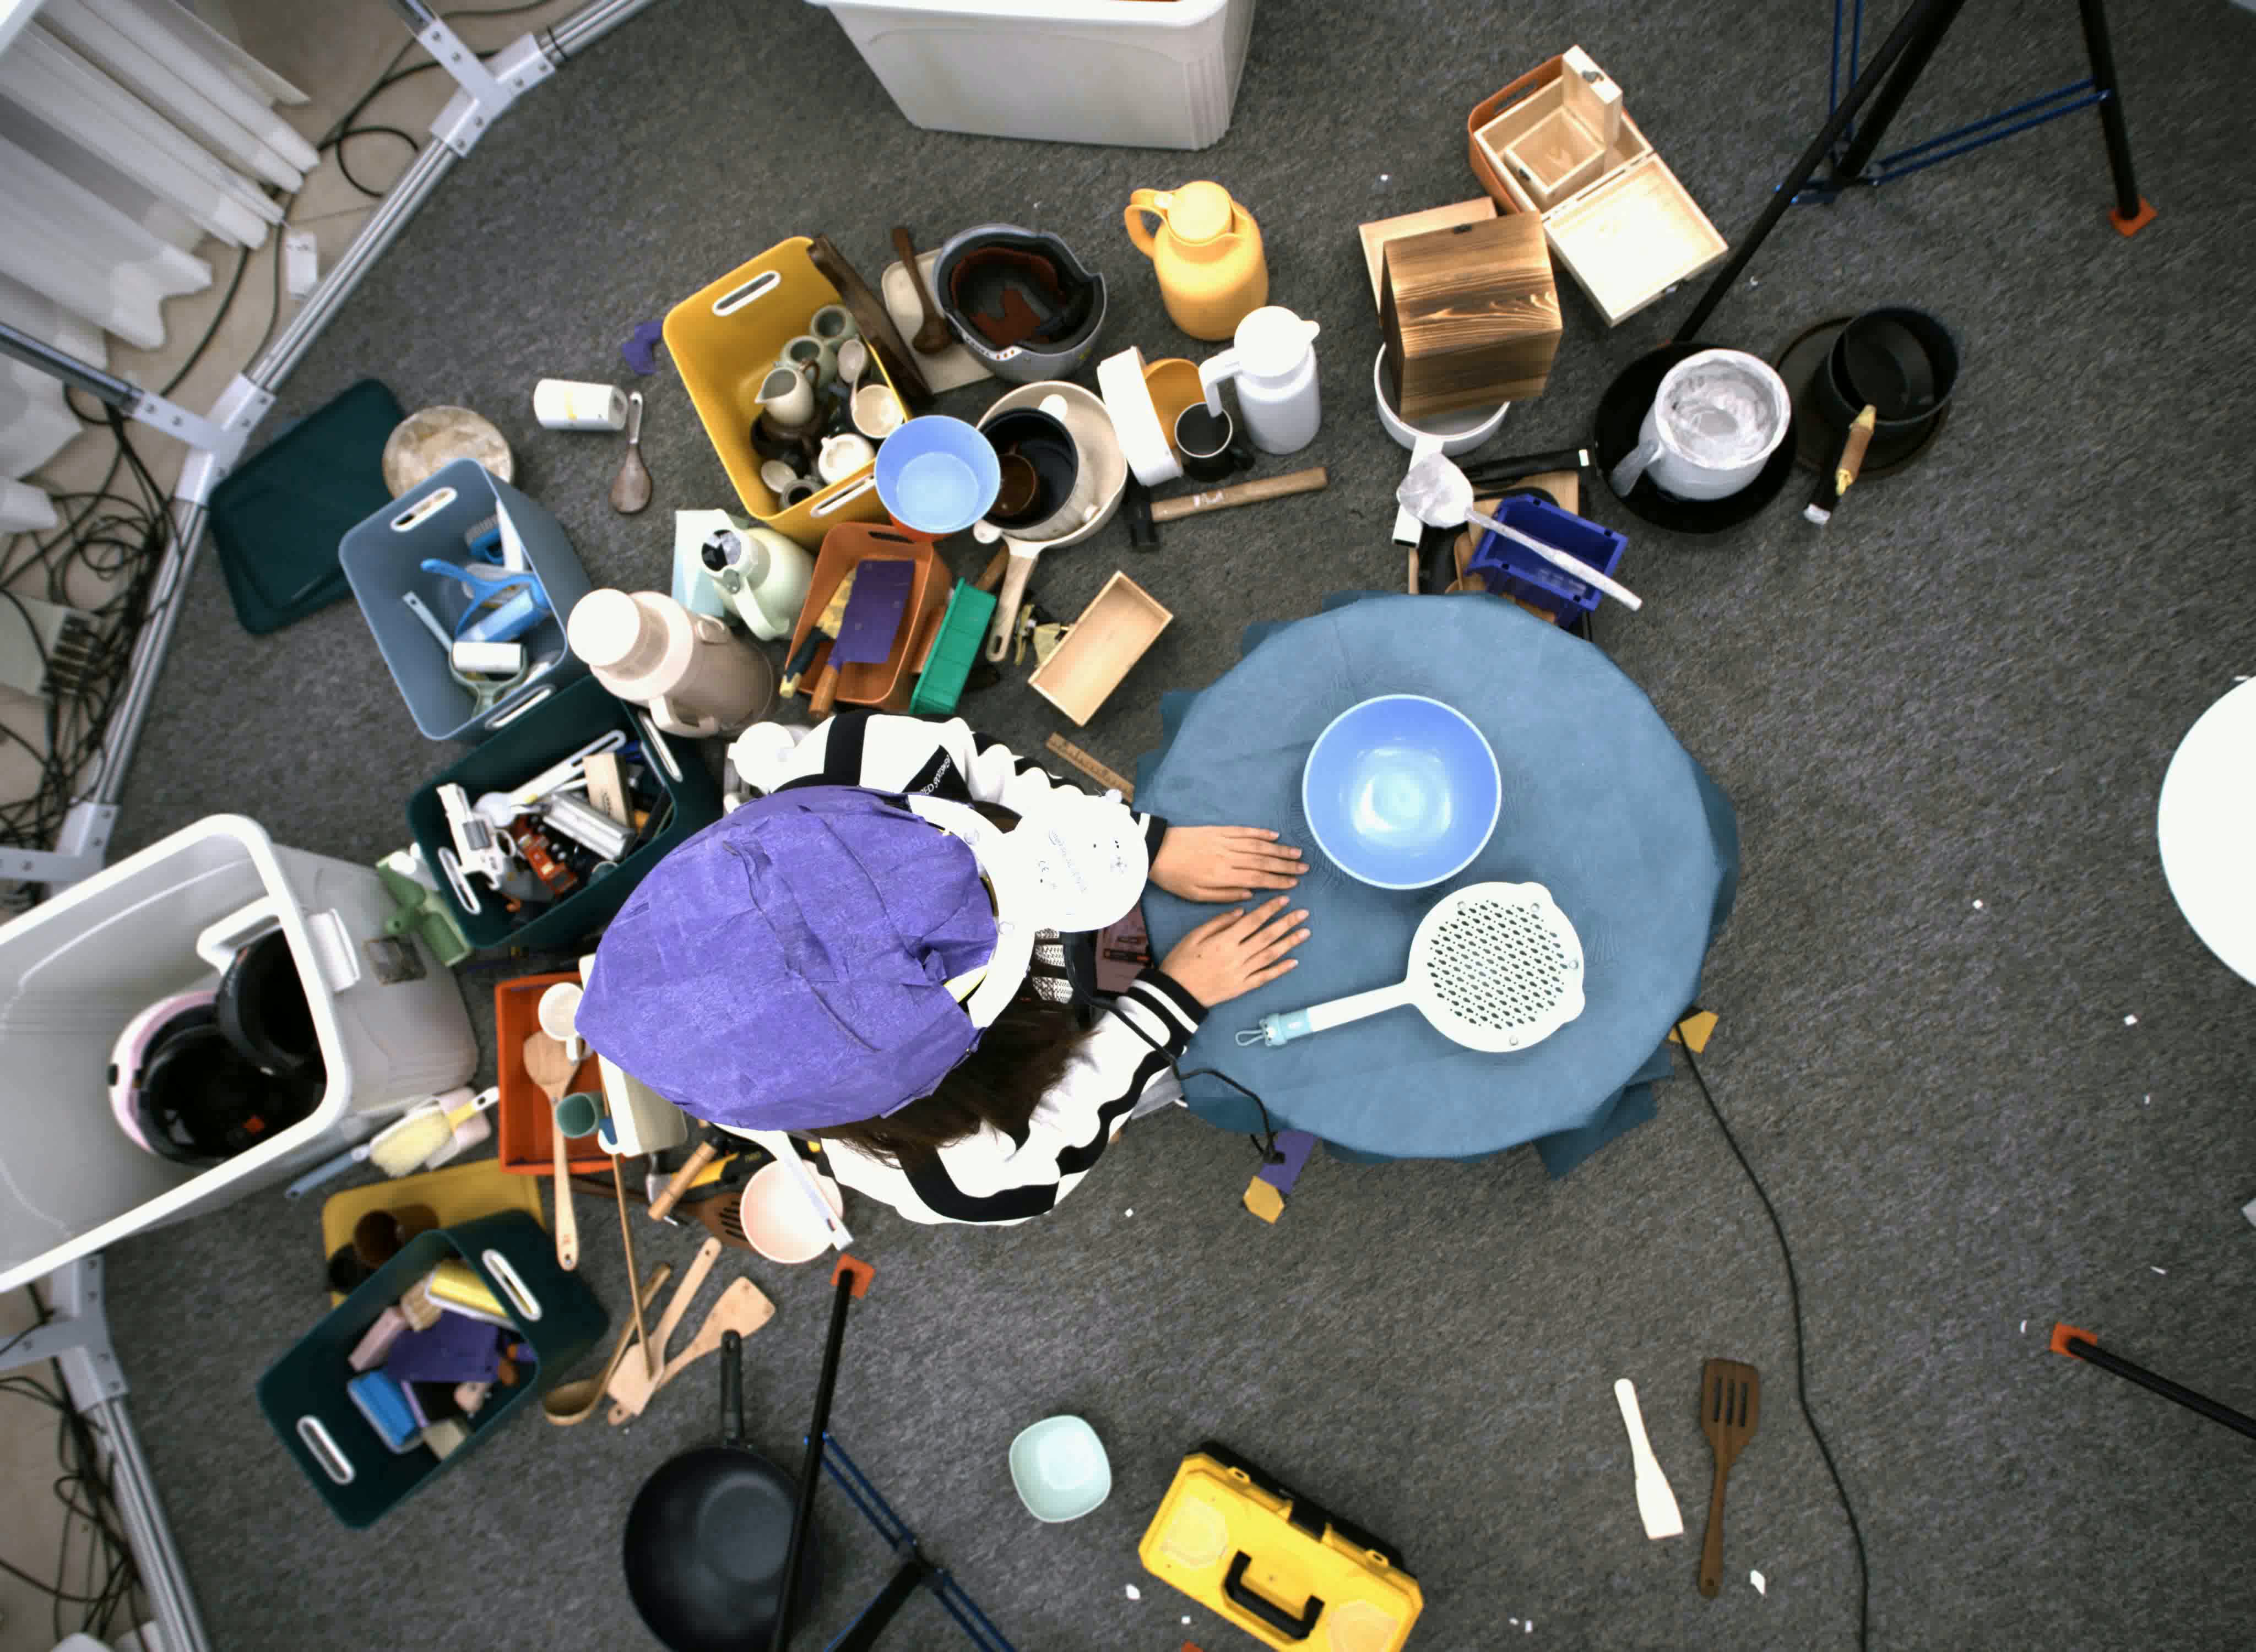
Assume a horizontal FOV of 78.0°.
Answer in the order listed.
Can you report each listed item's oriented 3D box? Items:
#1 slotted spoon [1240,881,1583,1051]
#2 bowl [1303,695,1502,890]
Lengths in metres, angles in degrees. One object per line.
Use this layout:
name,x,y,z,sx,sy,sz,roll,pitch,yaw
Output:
slotted spoon,0.283,0.169,1.423,0.361,0.075,0.168,-18,82,11
bowl,0.280,-0.031,1.417,0.197,0.095,0.196,-1,87,11
